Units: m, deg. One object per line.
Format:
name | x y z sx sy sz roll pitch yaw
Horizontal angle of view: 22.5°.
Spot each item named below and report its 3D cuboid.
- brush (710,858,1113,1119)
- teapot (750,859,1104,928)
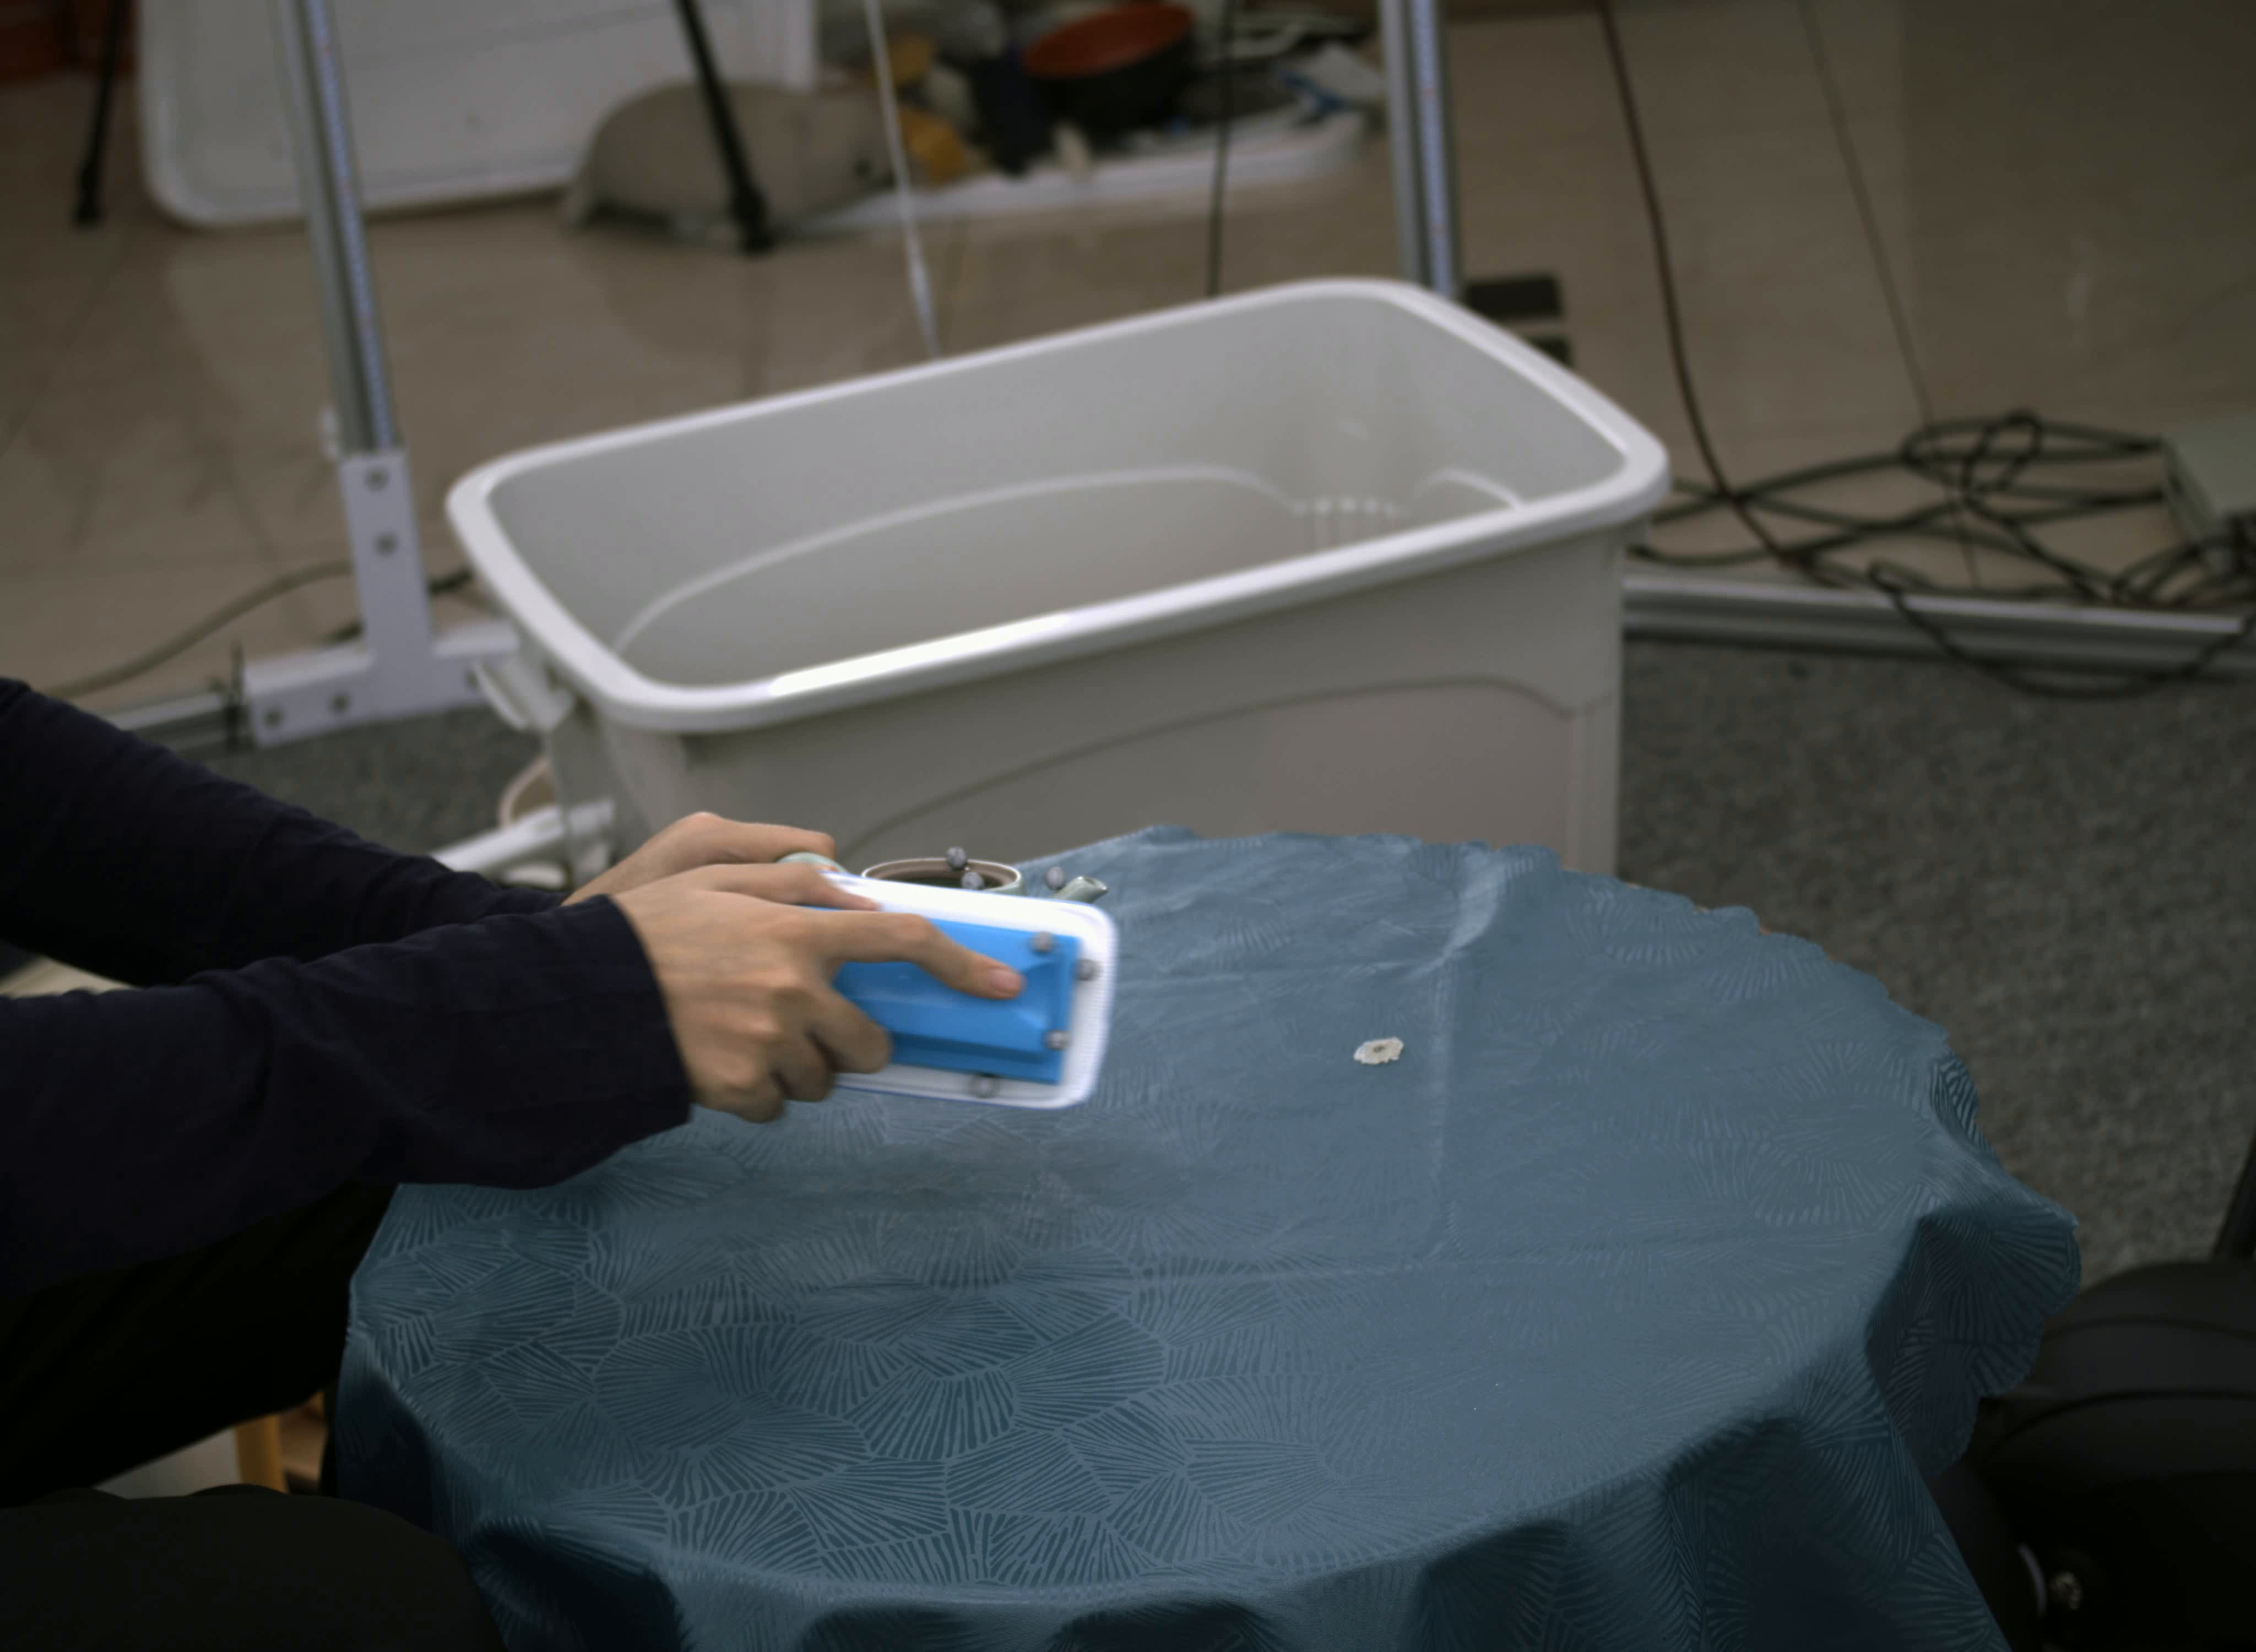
brush | -0.079 0.056 2.079 0.144 0.083 0.056 11 -14 1
teapot | -0.077 0.045 2.149 0.136 0.062 0.095 4 13 10
